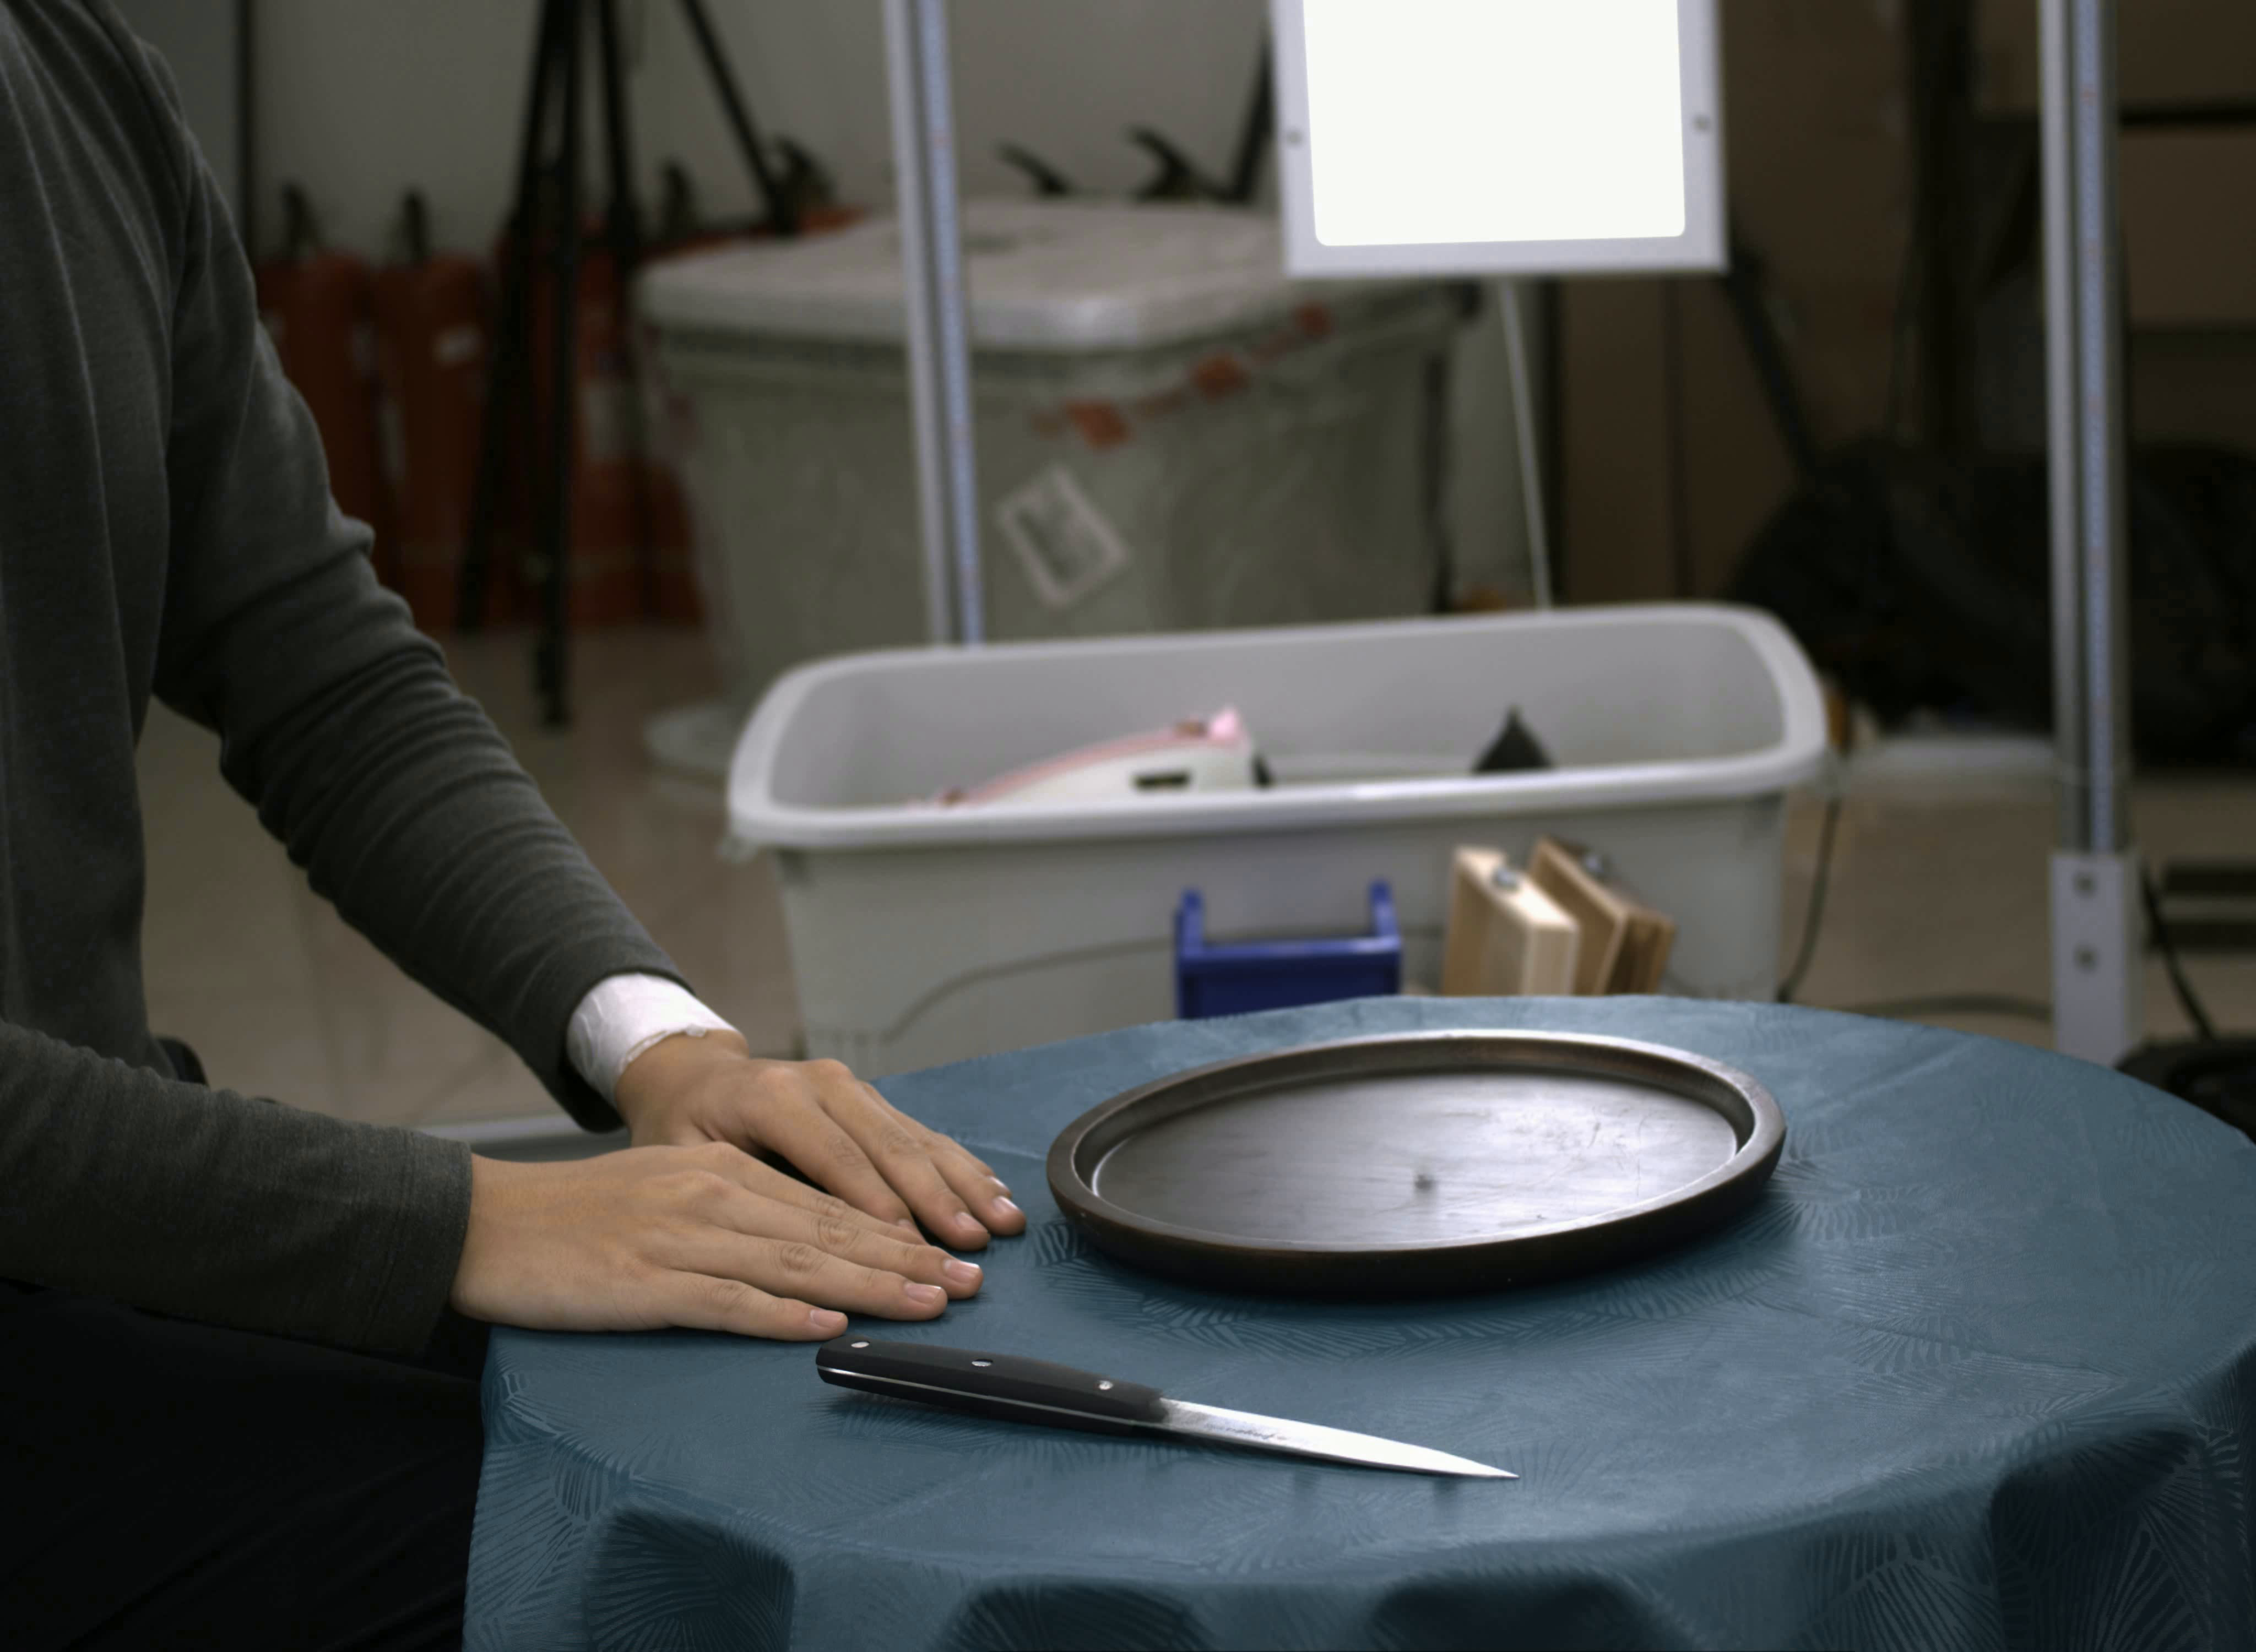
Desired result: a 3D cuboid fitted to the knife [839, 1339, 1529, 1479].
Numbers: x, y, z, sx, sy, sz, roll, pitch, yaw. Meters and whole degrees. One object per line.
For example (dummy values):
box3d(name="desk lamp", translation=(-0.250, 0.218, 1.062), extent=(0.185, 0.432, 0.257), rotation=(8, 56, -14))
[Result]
box3d(name="knife", translation=(0.012, 0.179, 1.662), extent=(0.242, 0.016, 0.024), rotation=(6, 13, 31))

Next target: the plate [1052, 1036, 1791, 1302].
box3d(name="plate", translation=(0.100, 0.114, 1.870), extent=(0.254, 0.029, 0.254), rotation=(-4, 13, 0))
